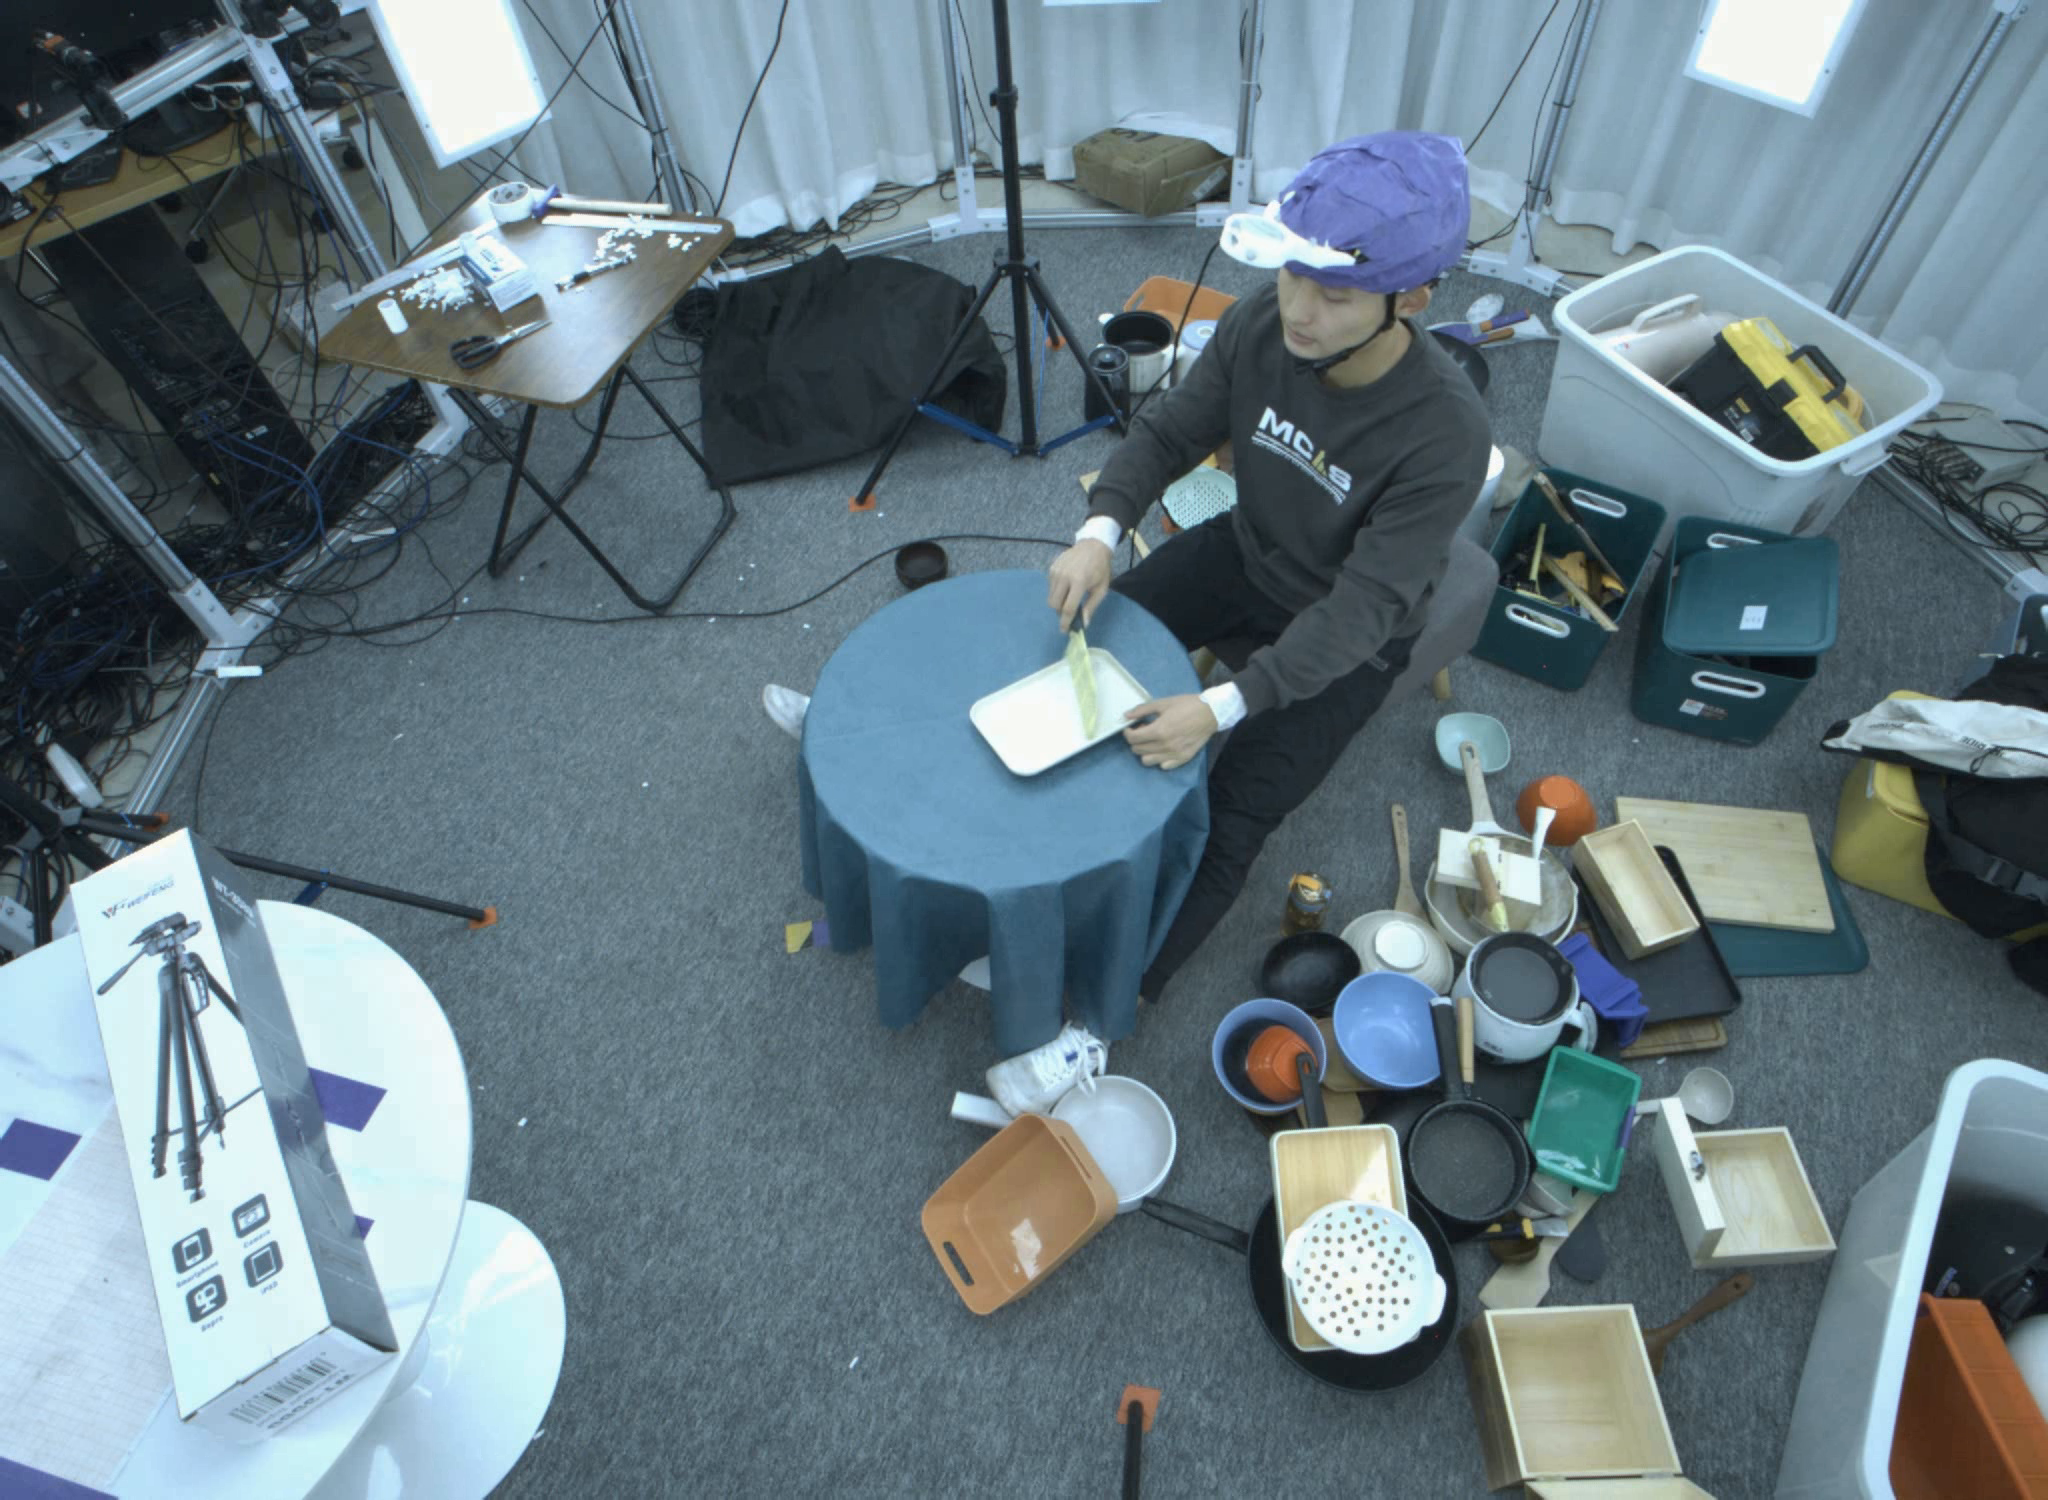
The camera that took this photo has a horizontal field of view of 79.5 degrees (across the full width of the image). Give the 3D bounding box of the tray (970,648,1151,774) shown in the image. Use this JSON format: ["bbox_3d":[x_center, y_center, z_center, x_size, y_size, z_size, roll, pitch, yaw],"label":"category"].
[{"bbox_3d":[0.054,-0.058,1.815,0.241,0.018,0.167,-27,51,-16],"label":"tray"}]

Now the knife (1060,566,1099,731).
[{"bbox_3d":[0.080,-0.152,1.831,0.027,0.081,0.286,3,59,-20],"label":"knife"}]
